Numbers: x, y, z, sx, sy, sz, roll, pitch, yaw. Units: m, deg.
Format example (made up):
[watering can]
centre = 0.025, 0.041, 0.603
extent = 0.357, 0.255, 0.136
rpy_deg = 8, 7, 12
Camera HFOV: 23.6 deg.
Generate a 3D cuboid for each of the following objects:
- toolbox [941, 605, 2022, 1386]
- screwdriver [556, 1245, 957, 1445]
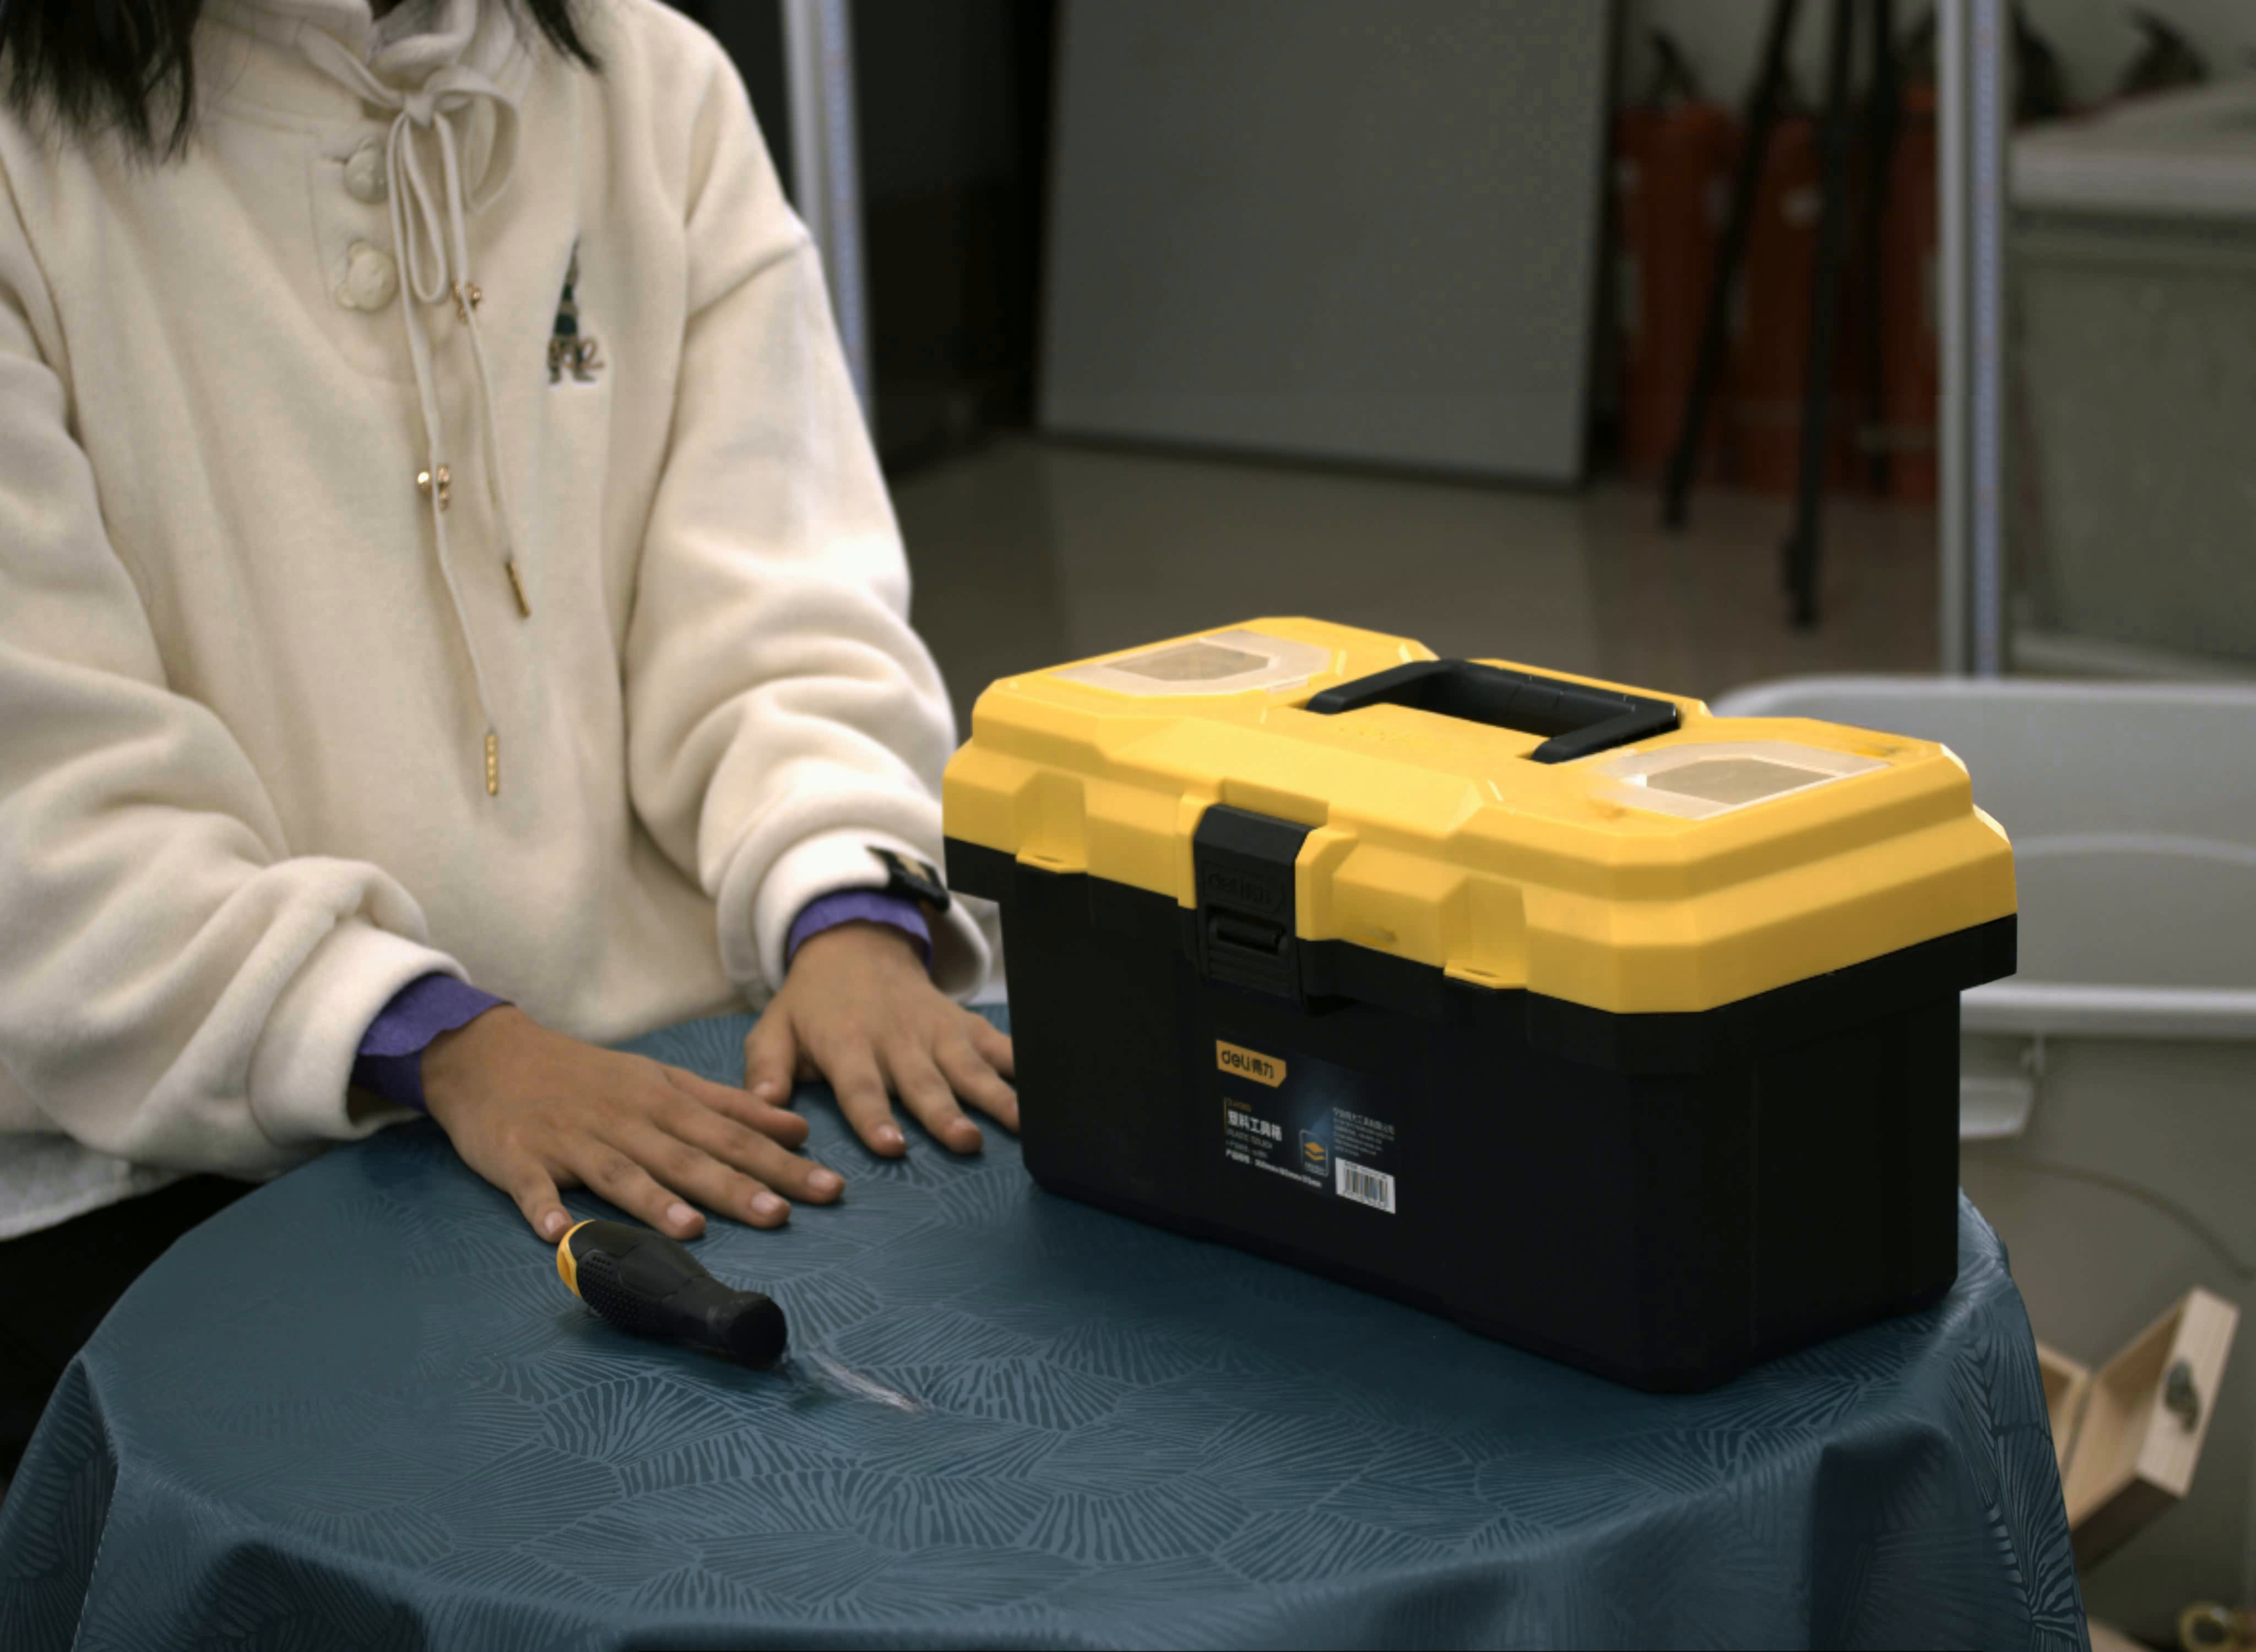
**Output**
[toolbox]
centre = 0.103, 0.045, 1.680
extent = 0.177, 0.175, 0.355
rpy_deg = -14, 17, -36
[screwdriver]
centre = -0.111, 0.161, 1.621
extent = 0.031, 0.032, 0.200
rpy_deg = -13, 21, -36
